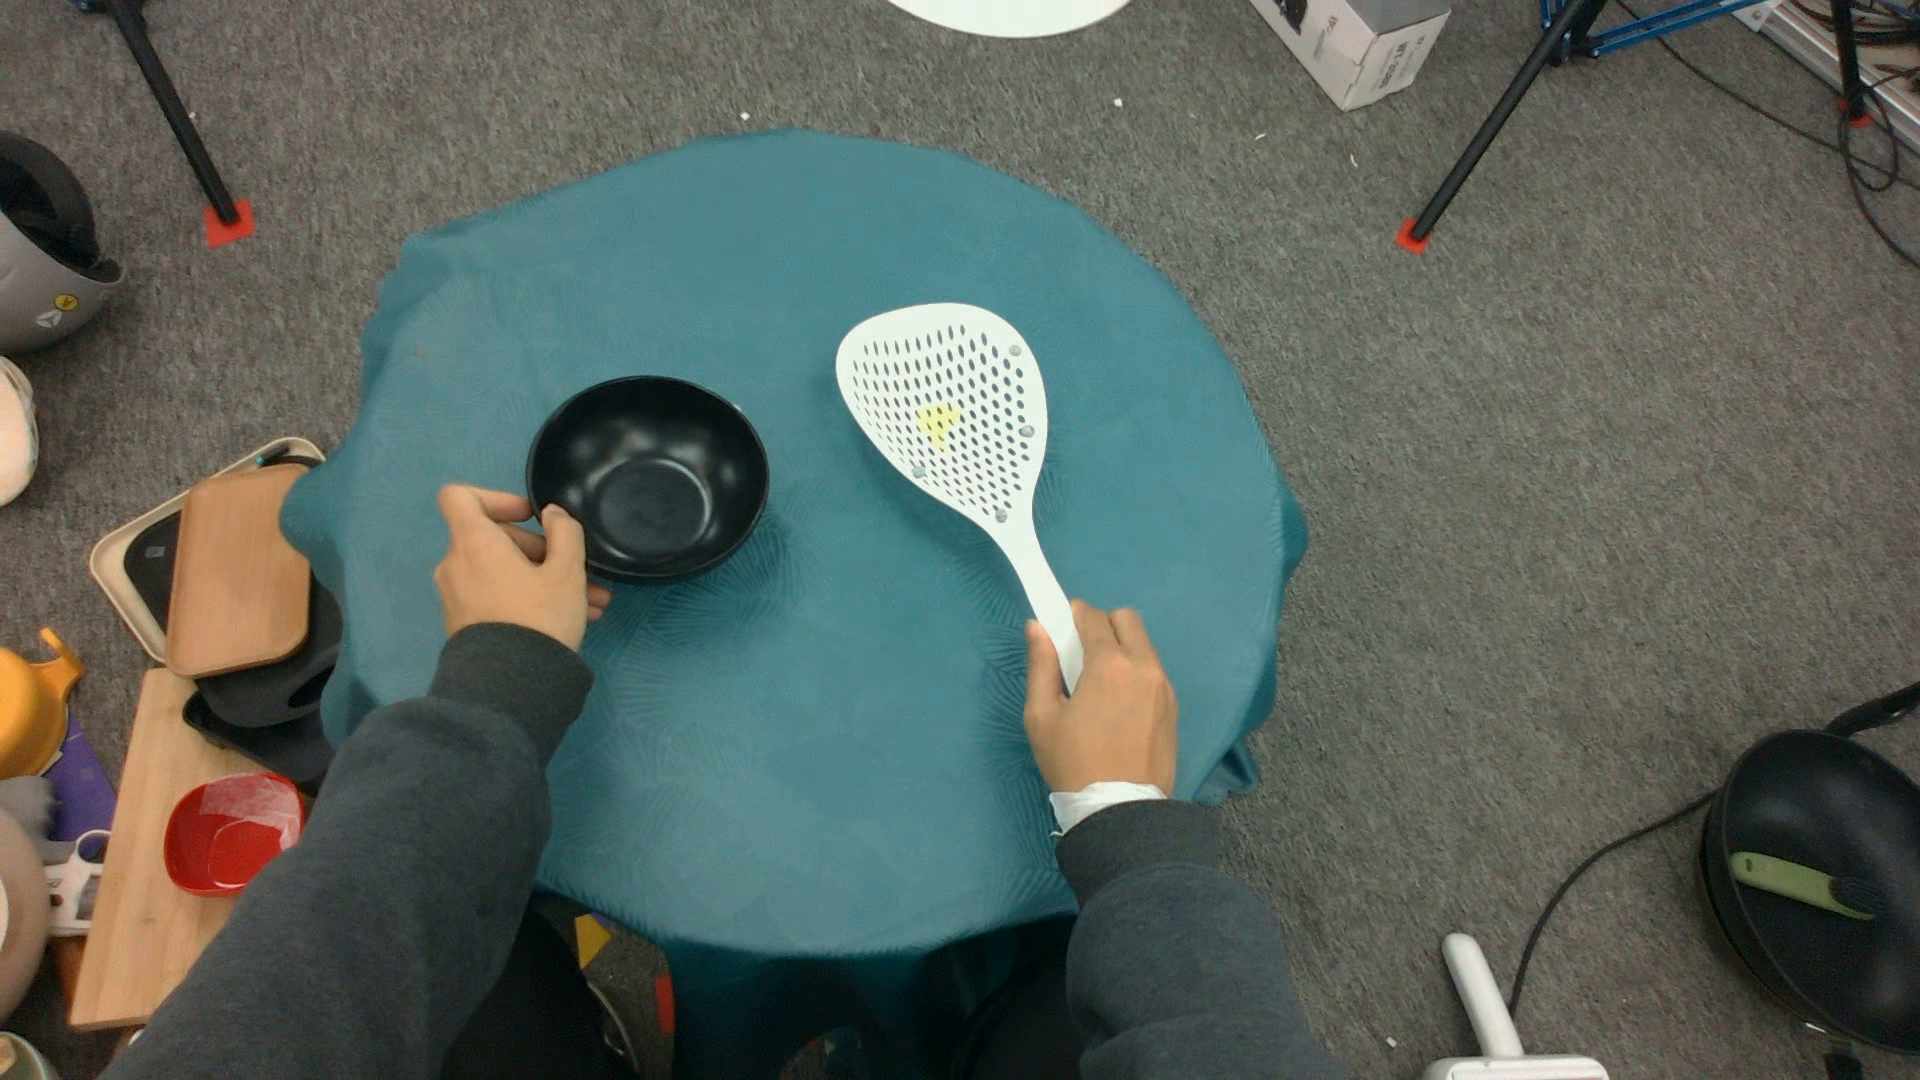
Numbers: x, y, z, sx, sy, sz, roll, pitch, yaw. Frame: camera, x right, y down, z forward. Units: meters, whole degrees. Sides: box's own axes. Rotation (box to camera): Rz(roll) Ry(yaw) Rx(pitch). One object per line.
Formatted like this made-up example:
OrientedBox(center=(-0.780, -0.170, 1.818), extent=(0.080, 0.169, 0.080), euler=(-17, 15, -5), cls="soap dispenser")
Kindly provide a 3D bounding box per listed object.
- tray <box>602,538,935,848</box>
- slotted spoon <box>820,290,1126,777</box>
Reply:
OrientedBox(center=(-0.193, 0.148, 1.392), extent=(0.300, 0.027, 0.192), euler=(39, 63, 13), cls="tray")
OrientedBox(center=(0.019, -0.013, 0.855), extent=(0.137, 0.050, 0.348), euler=(-14, 61, -24), cls="slotted spoon")
